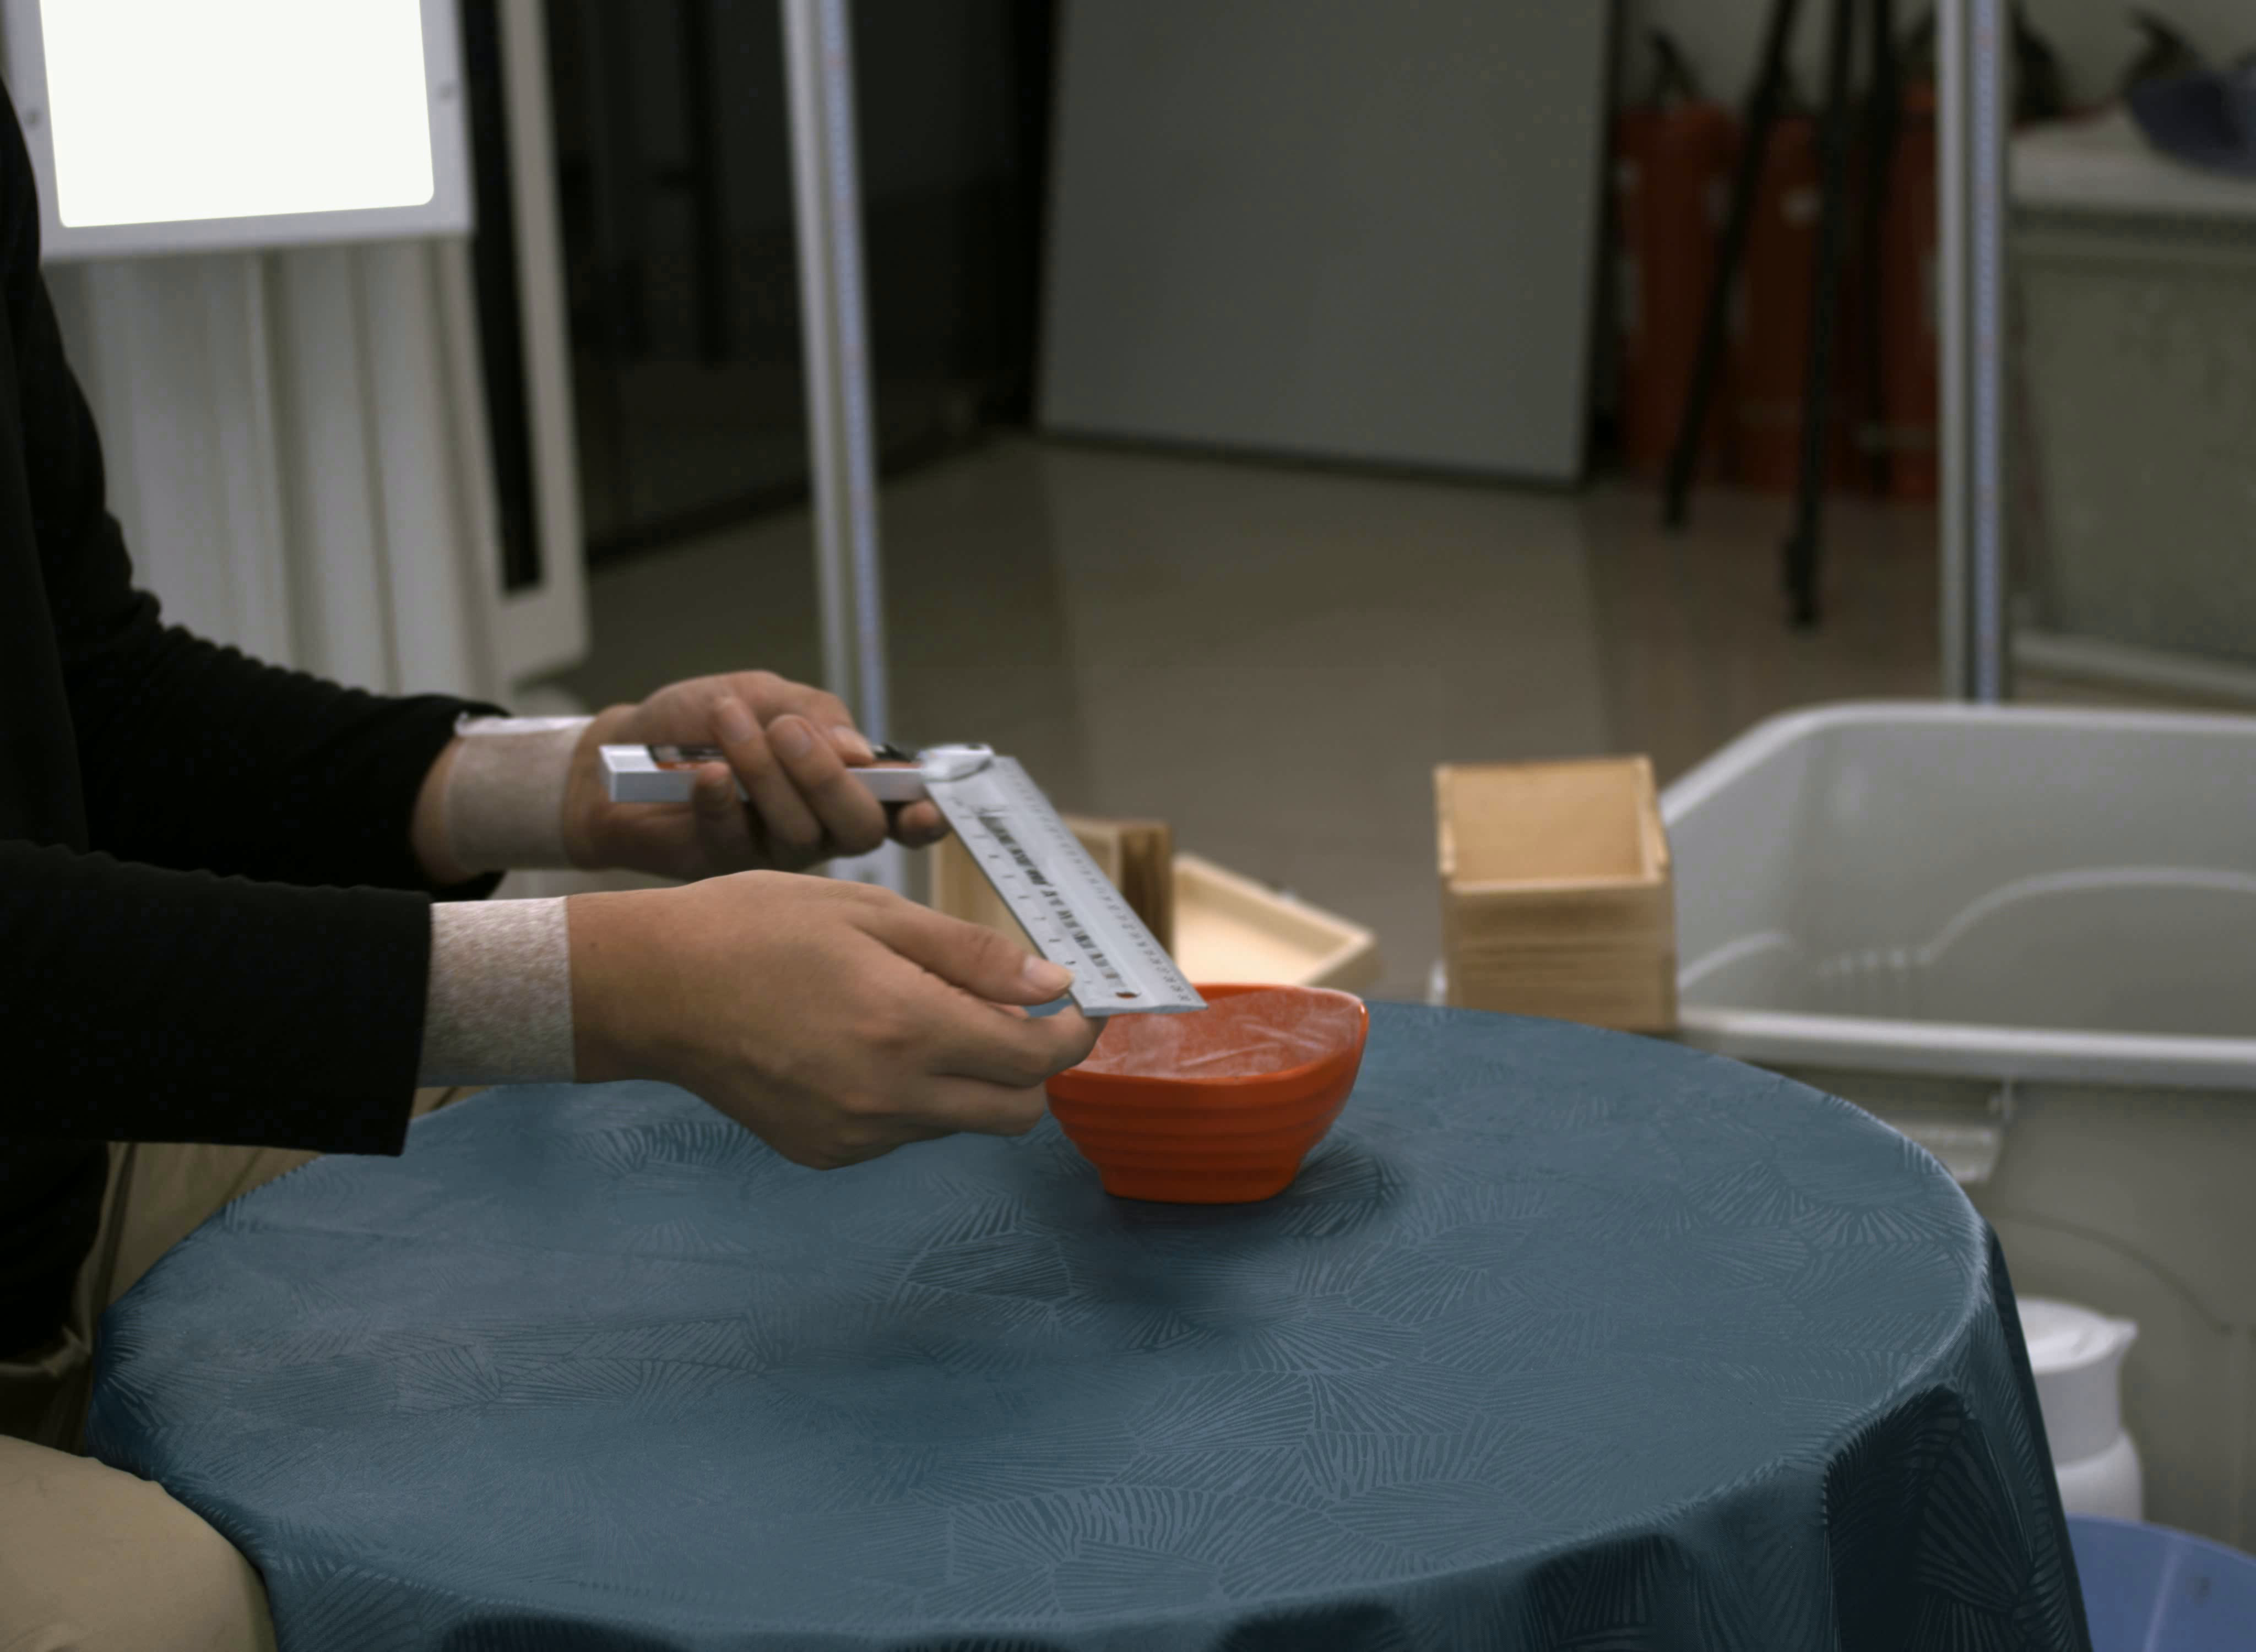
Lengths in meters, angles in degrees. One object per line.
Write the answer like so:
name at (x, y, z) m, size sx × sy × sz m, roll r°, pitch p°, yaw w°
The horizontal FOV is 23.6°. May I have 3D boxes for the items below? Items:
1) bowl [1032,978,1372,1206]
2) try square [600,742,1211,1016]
bowl at (0.026, 0.090, 1.778) m, size 0.117 × 0.052 × 0.119 m, roll -4°, pitch 16°, yaw 0°
try square at (-0.081, 0.019, 1.782) m, size 0.149 × 0.016 × 0.315 m, roll -5°, pitch 16°, yaw -11°
